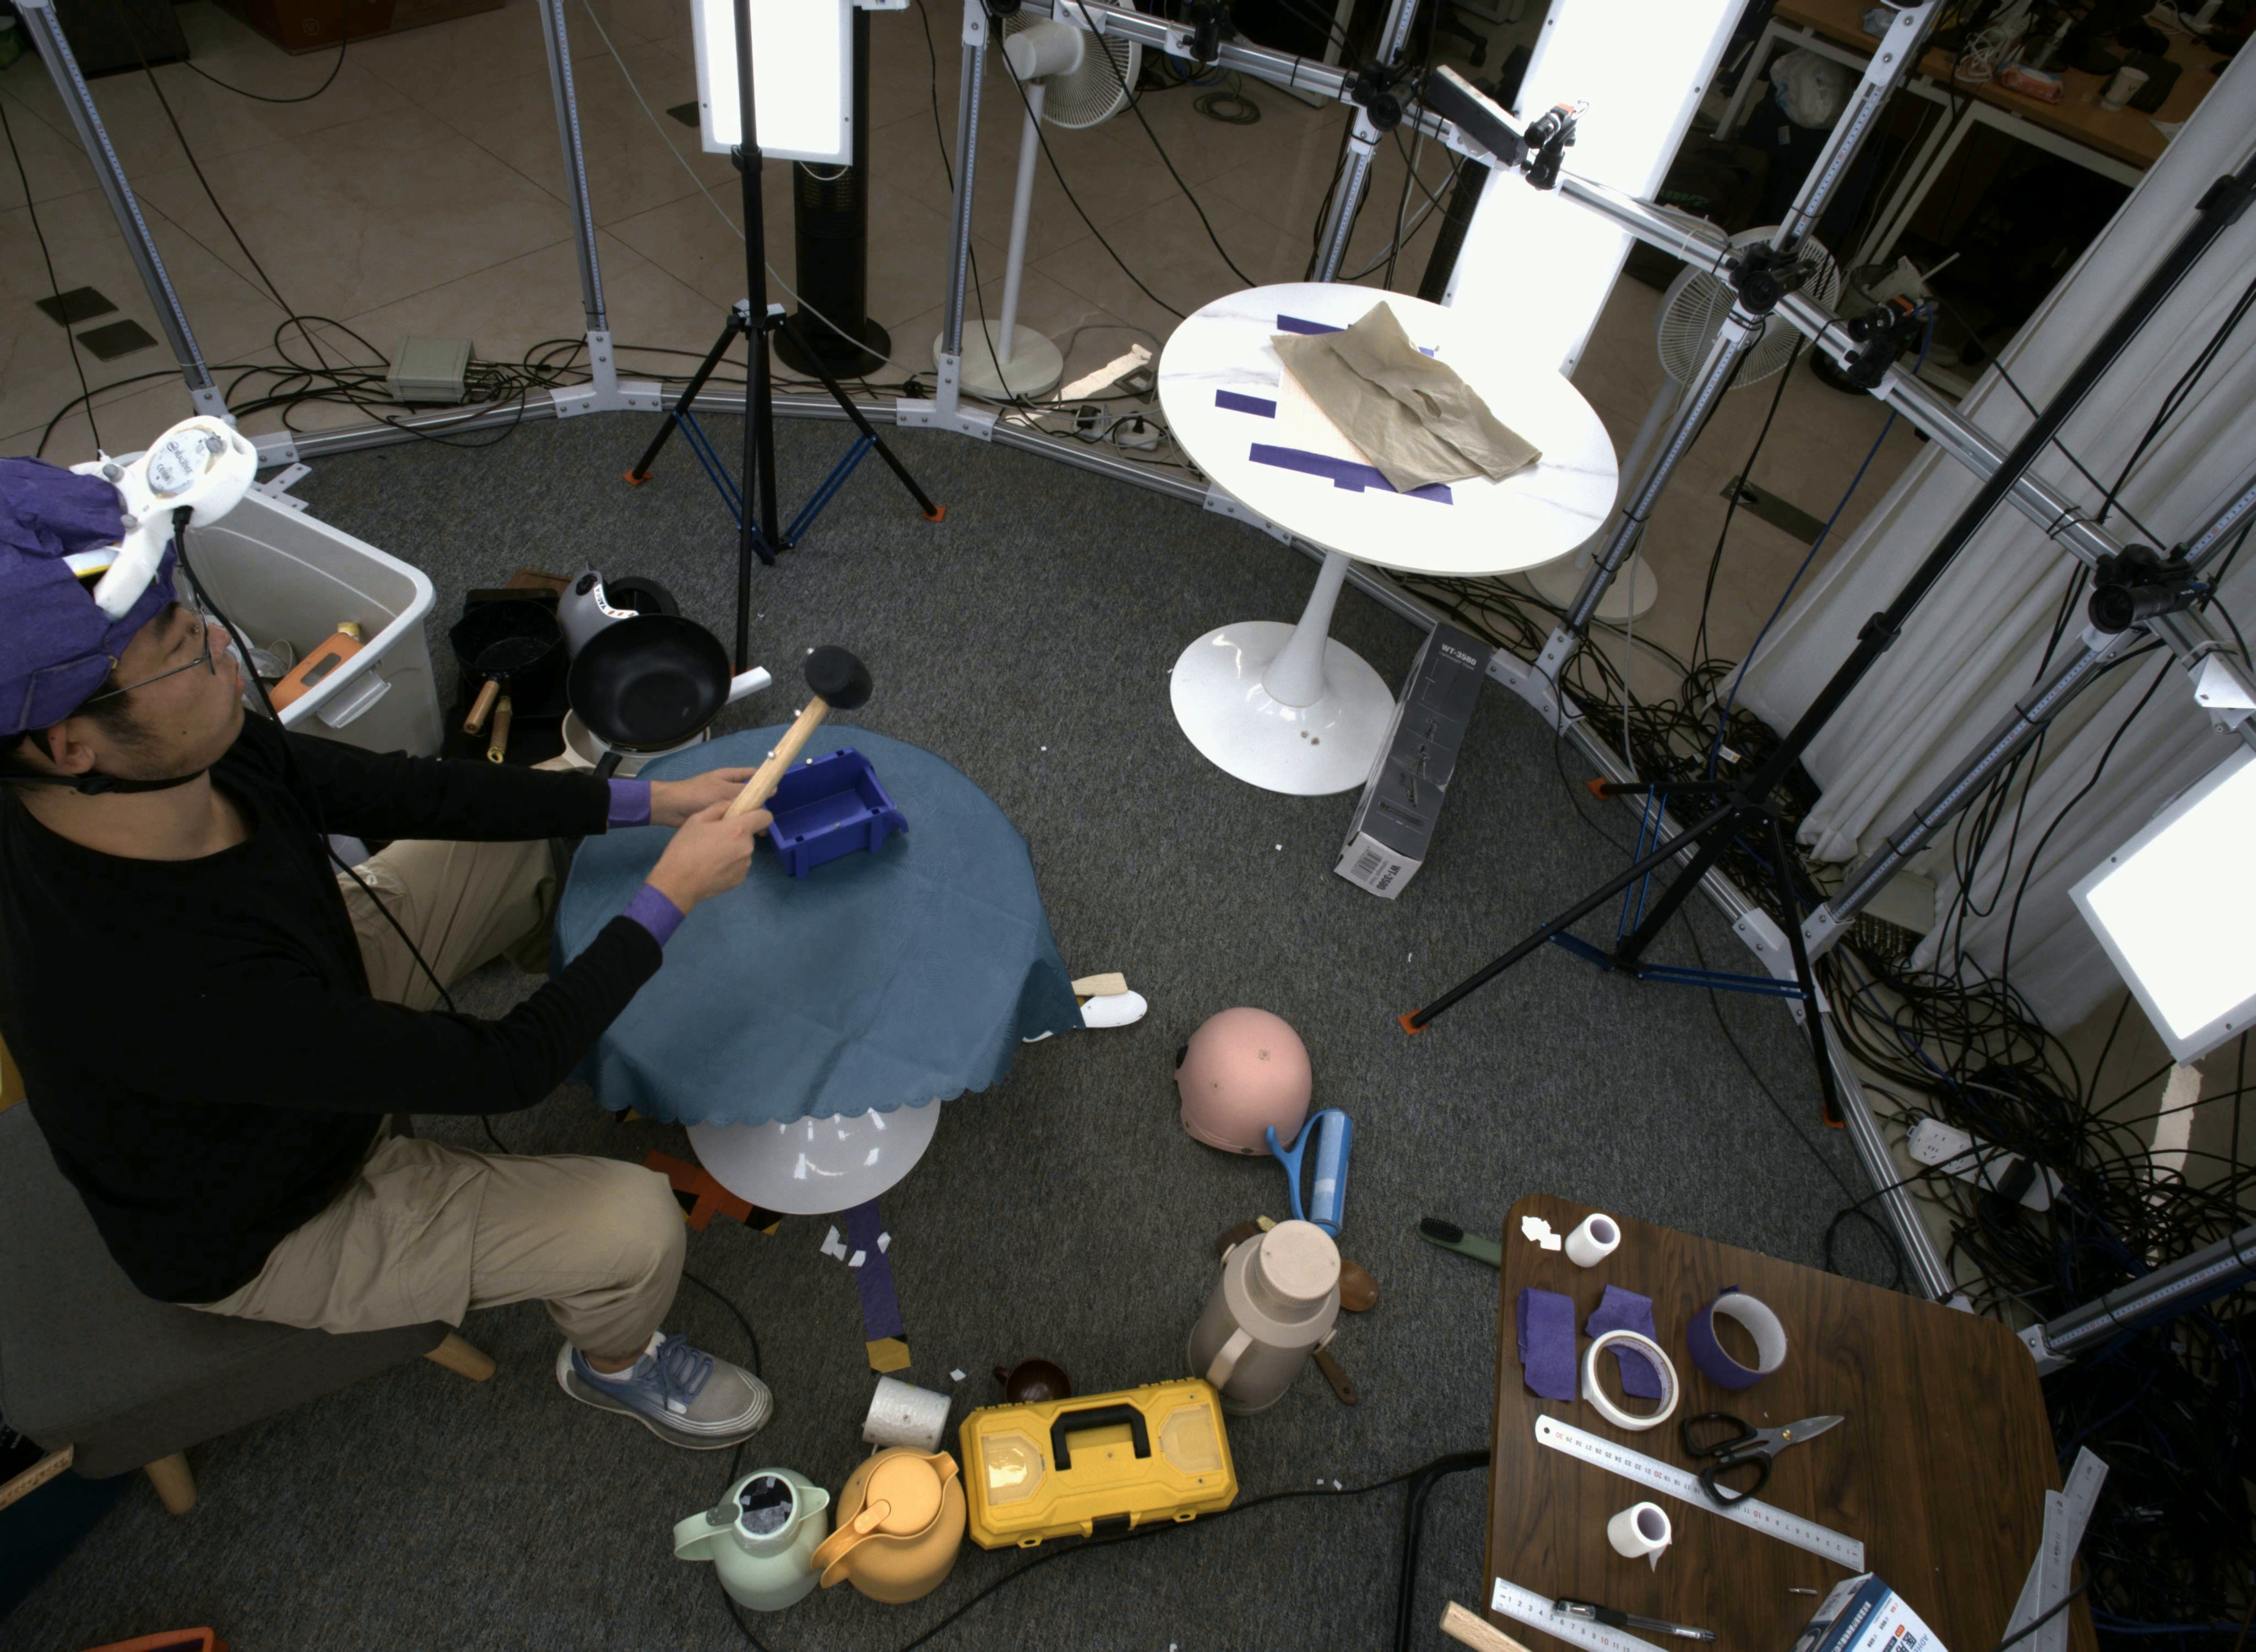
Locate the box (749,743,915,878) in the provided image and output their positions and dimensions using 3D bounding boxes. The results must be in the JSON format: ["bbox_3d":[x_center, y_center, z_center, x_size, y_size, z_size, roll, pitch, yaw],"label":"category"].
[{"bbox_3d":[-0.386,-0.026,1.698,0.180,0.084,0.121,-23,61,-24],"label":"box"}]

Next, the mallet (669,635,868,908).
[{"bbox_3d":[-0.413,-0.063,1.442,0.063,0.102,0.340,36,88,7],"label":"mallet"}]
